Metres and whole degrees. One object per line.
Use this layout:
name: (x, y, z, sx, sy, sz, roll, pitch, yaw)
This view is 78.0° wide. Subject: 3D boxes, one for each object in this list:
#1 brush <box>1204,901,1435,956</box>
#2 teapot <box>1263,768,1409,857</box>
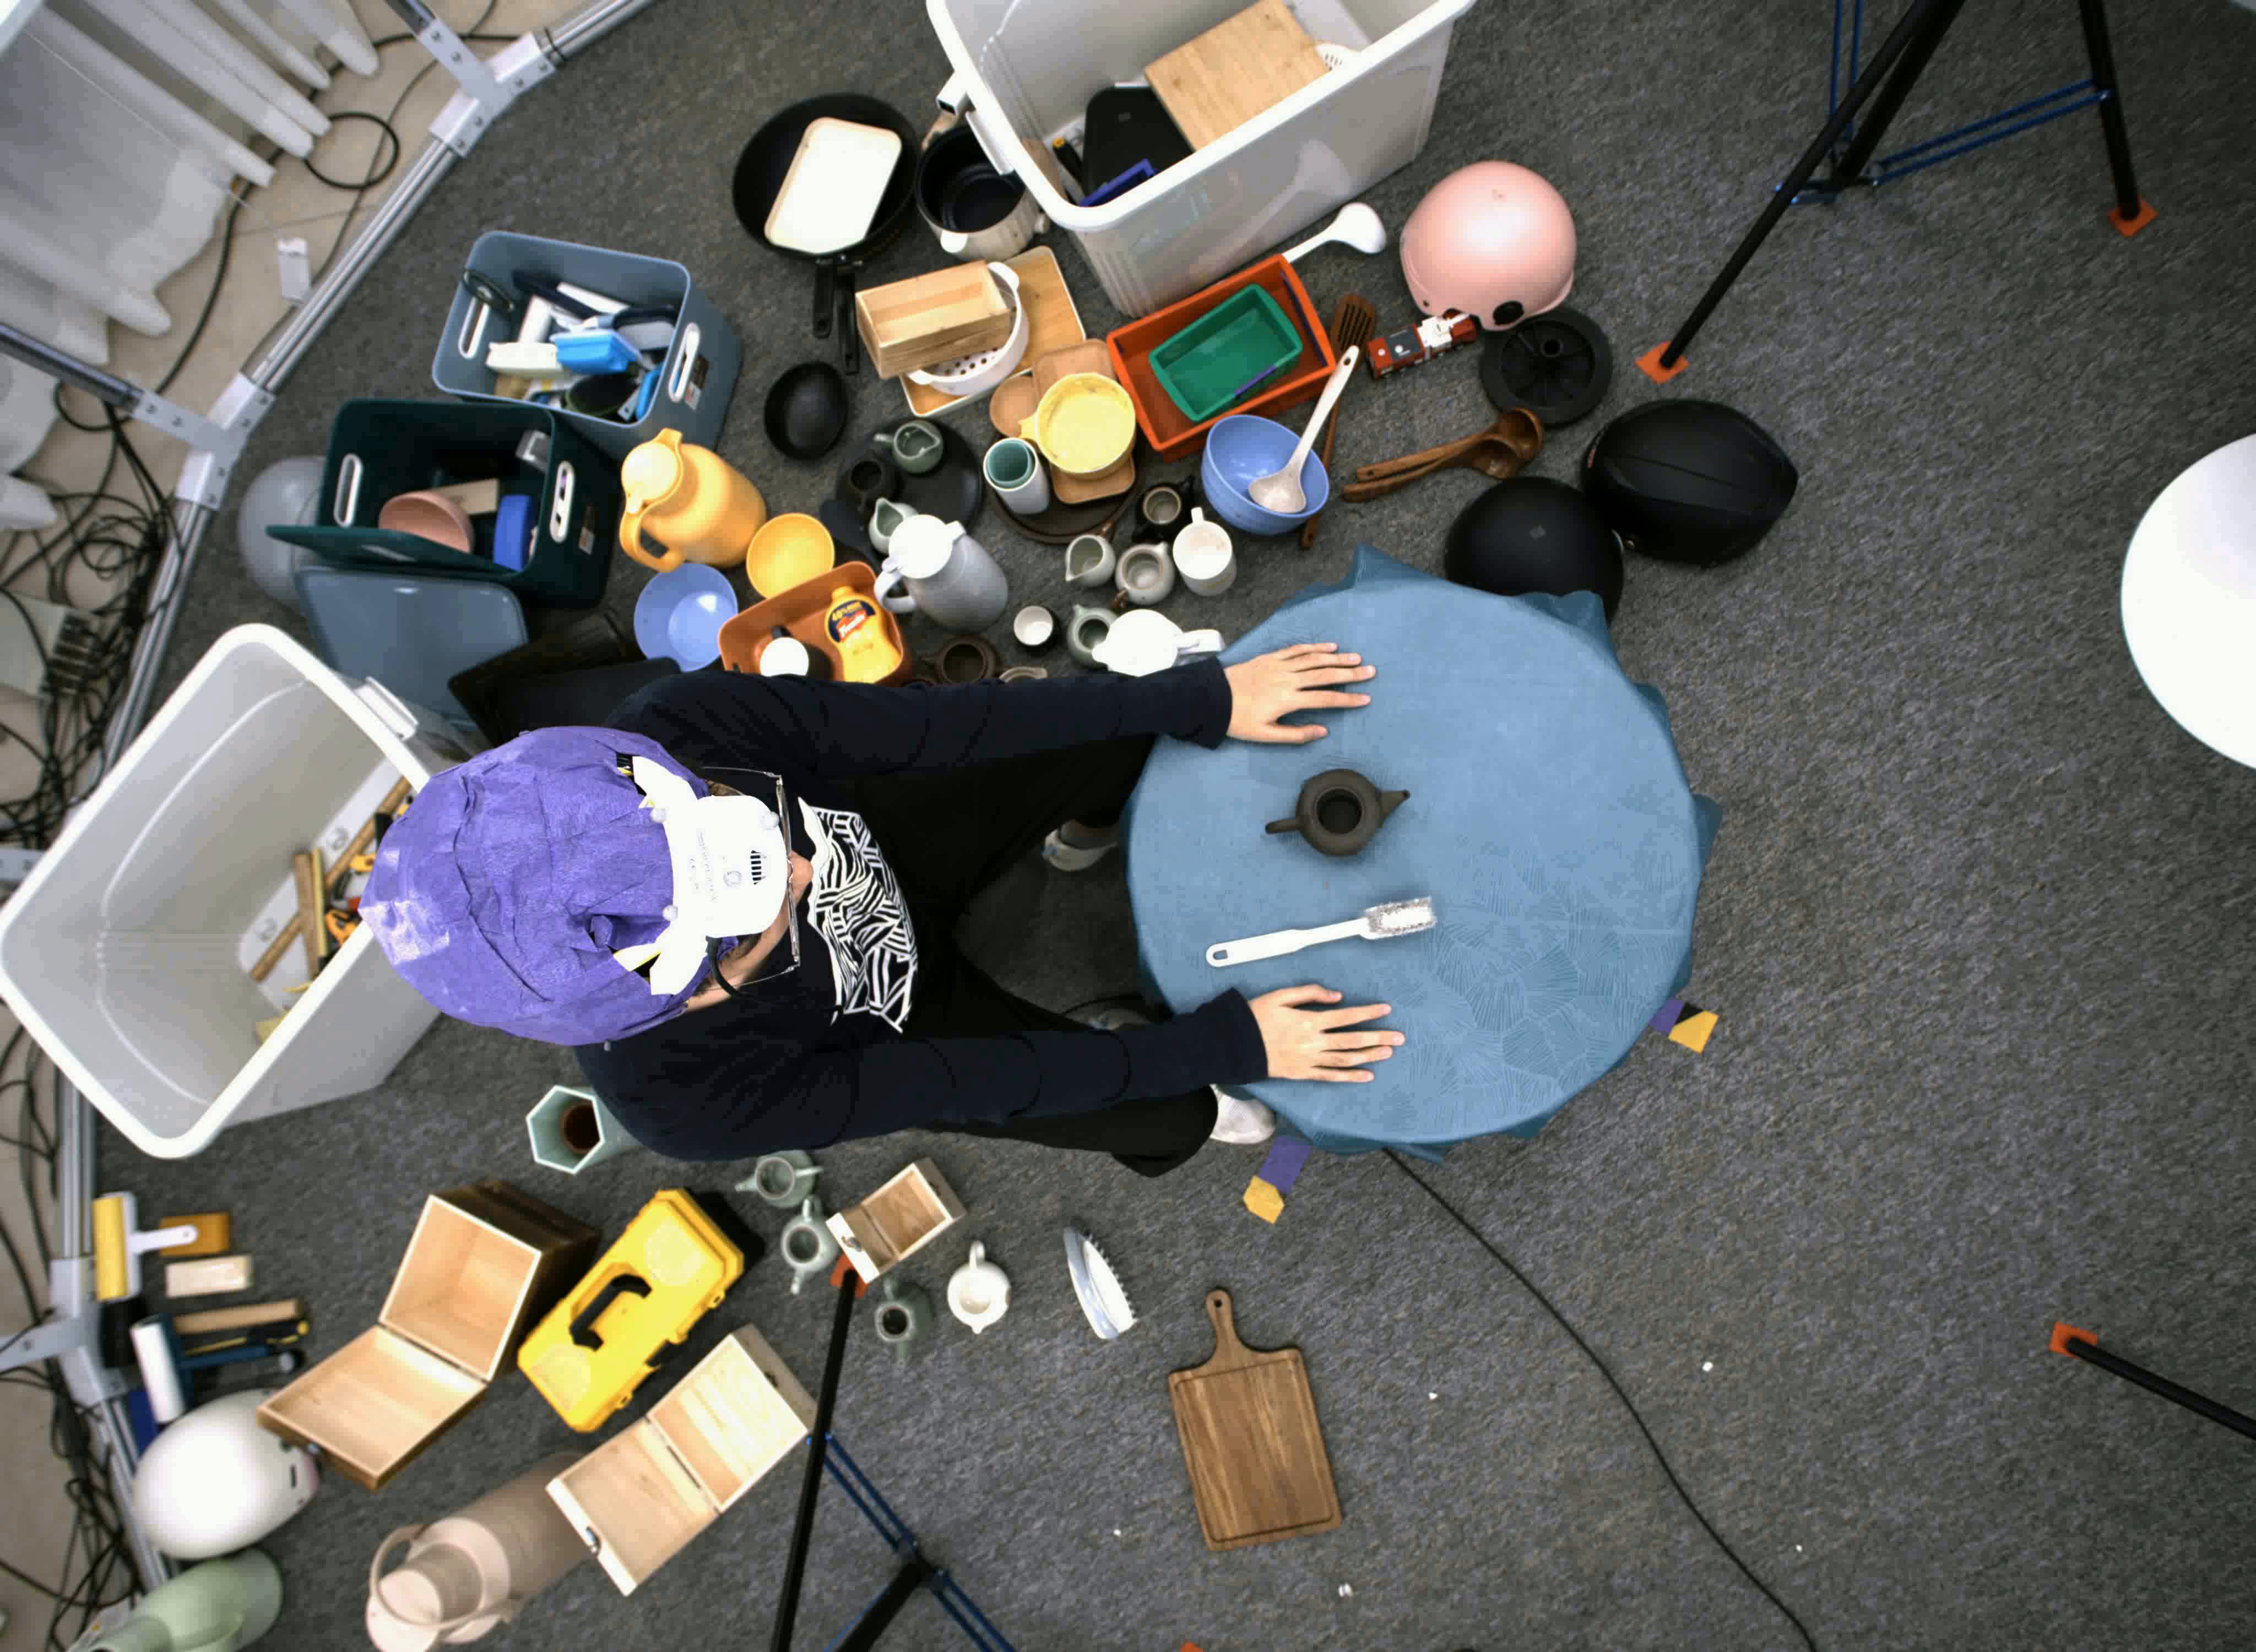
brush: (0.197, 0.109, 1.446, 0.245, 0.050, 0.034, -9, 89, 9)
teapot: (0.217, -0.014, 1.442, 0.155, 0.064, 0.092, -12, 85, 10)
